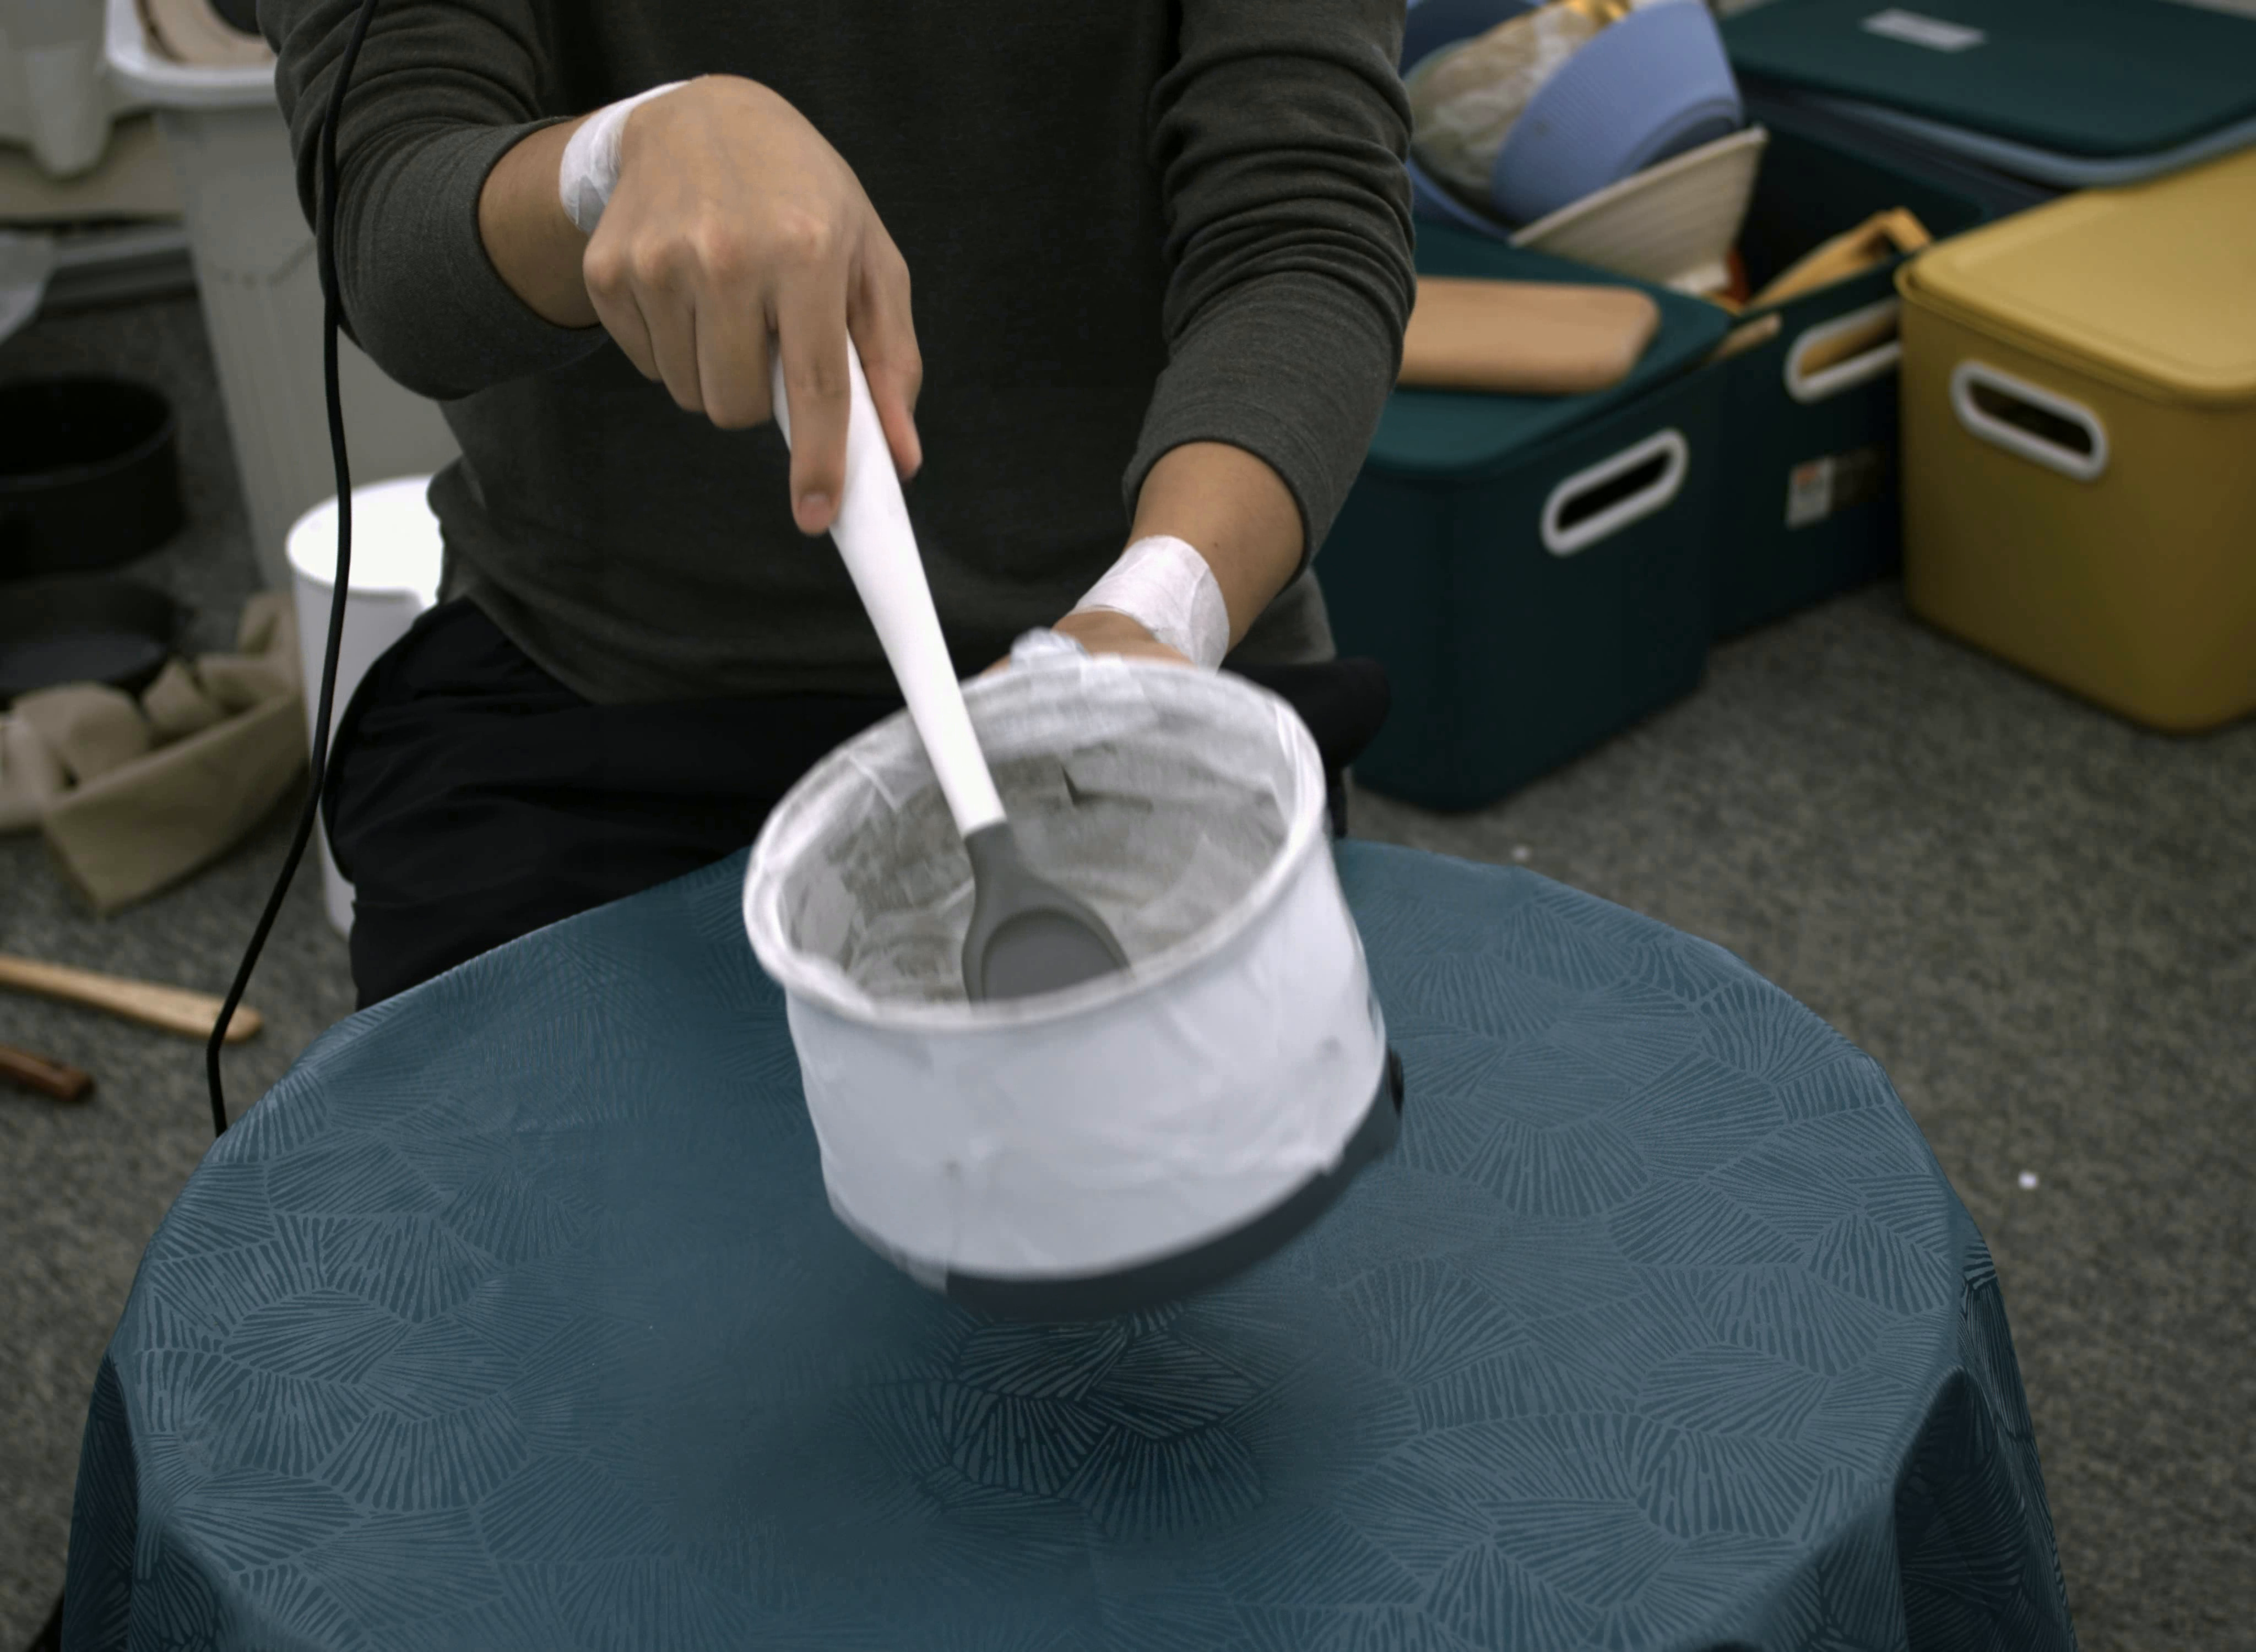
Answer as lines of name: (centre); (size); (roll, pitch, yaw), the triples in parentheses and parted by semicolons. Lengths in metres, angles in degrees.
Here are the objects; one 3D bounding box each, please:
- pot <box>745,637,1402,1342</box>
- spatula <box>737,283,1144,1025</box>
pot: (-0.014, 0.040, 1.717); (0.177, 0.135, 0.238); (-9, 36, 6)
spatula: (-0.056, -0.031, 1.714); (0.059, 0.290, 0.032); (-18, -15, -13)
